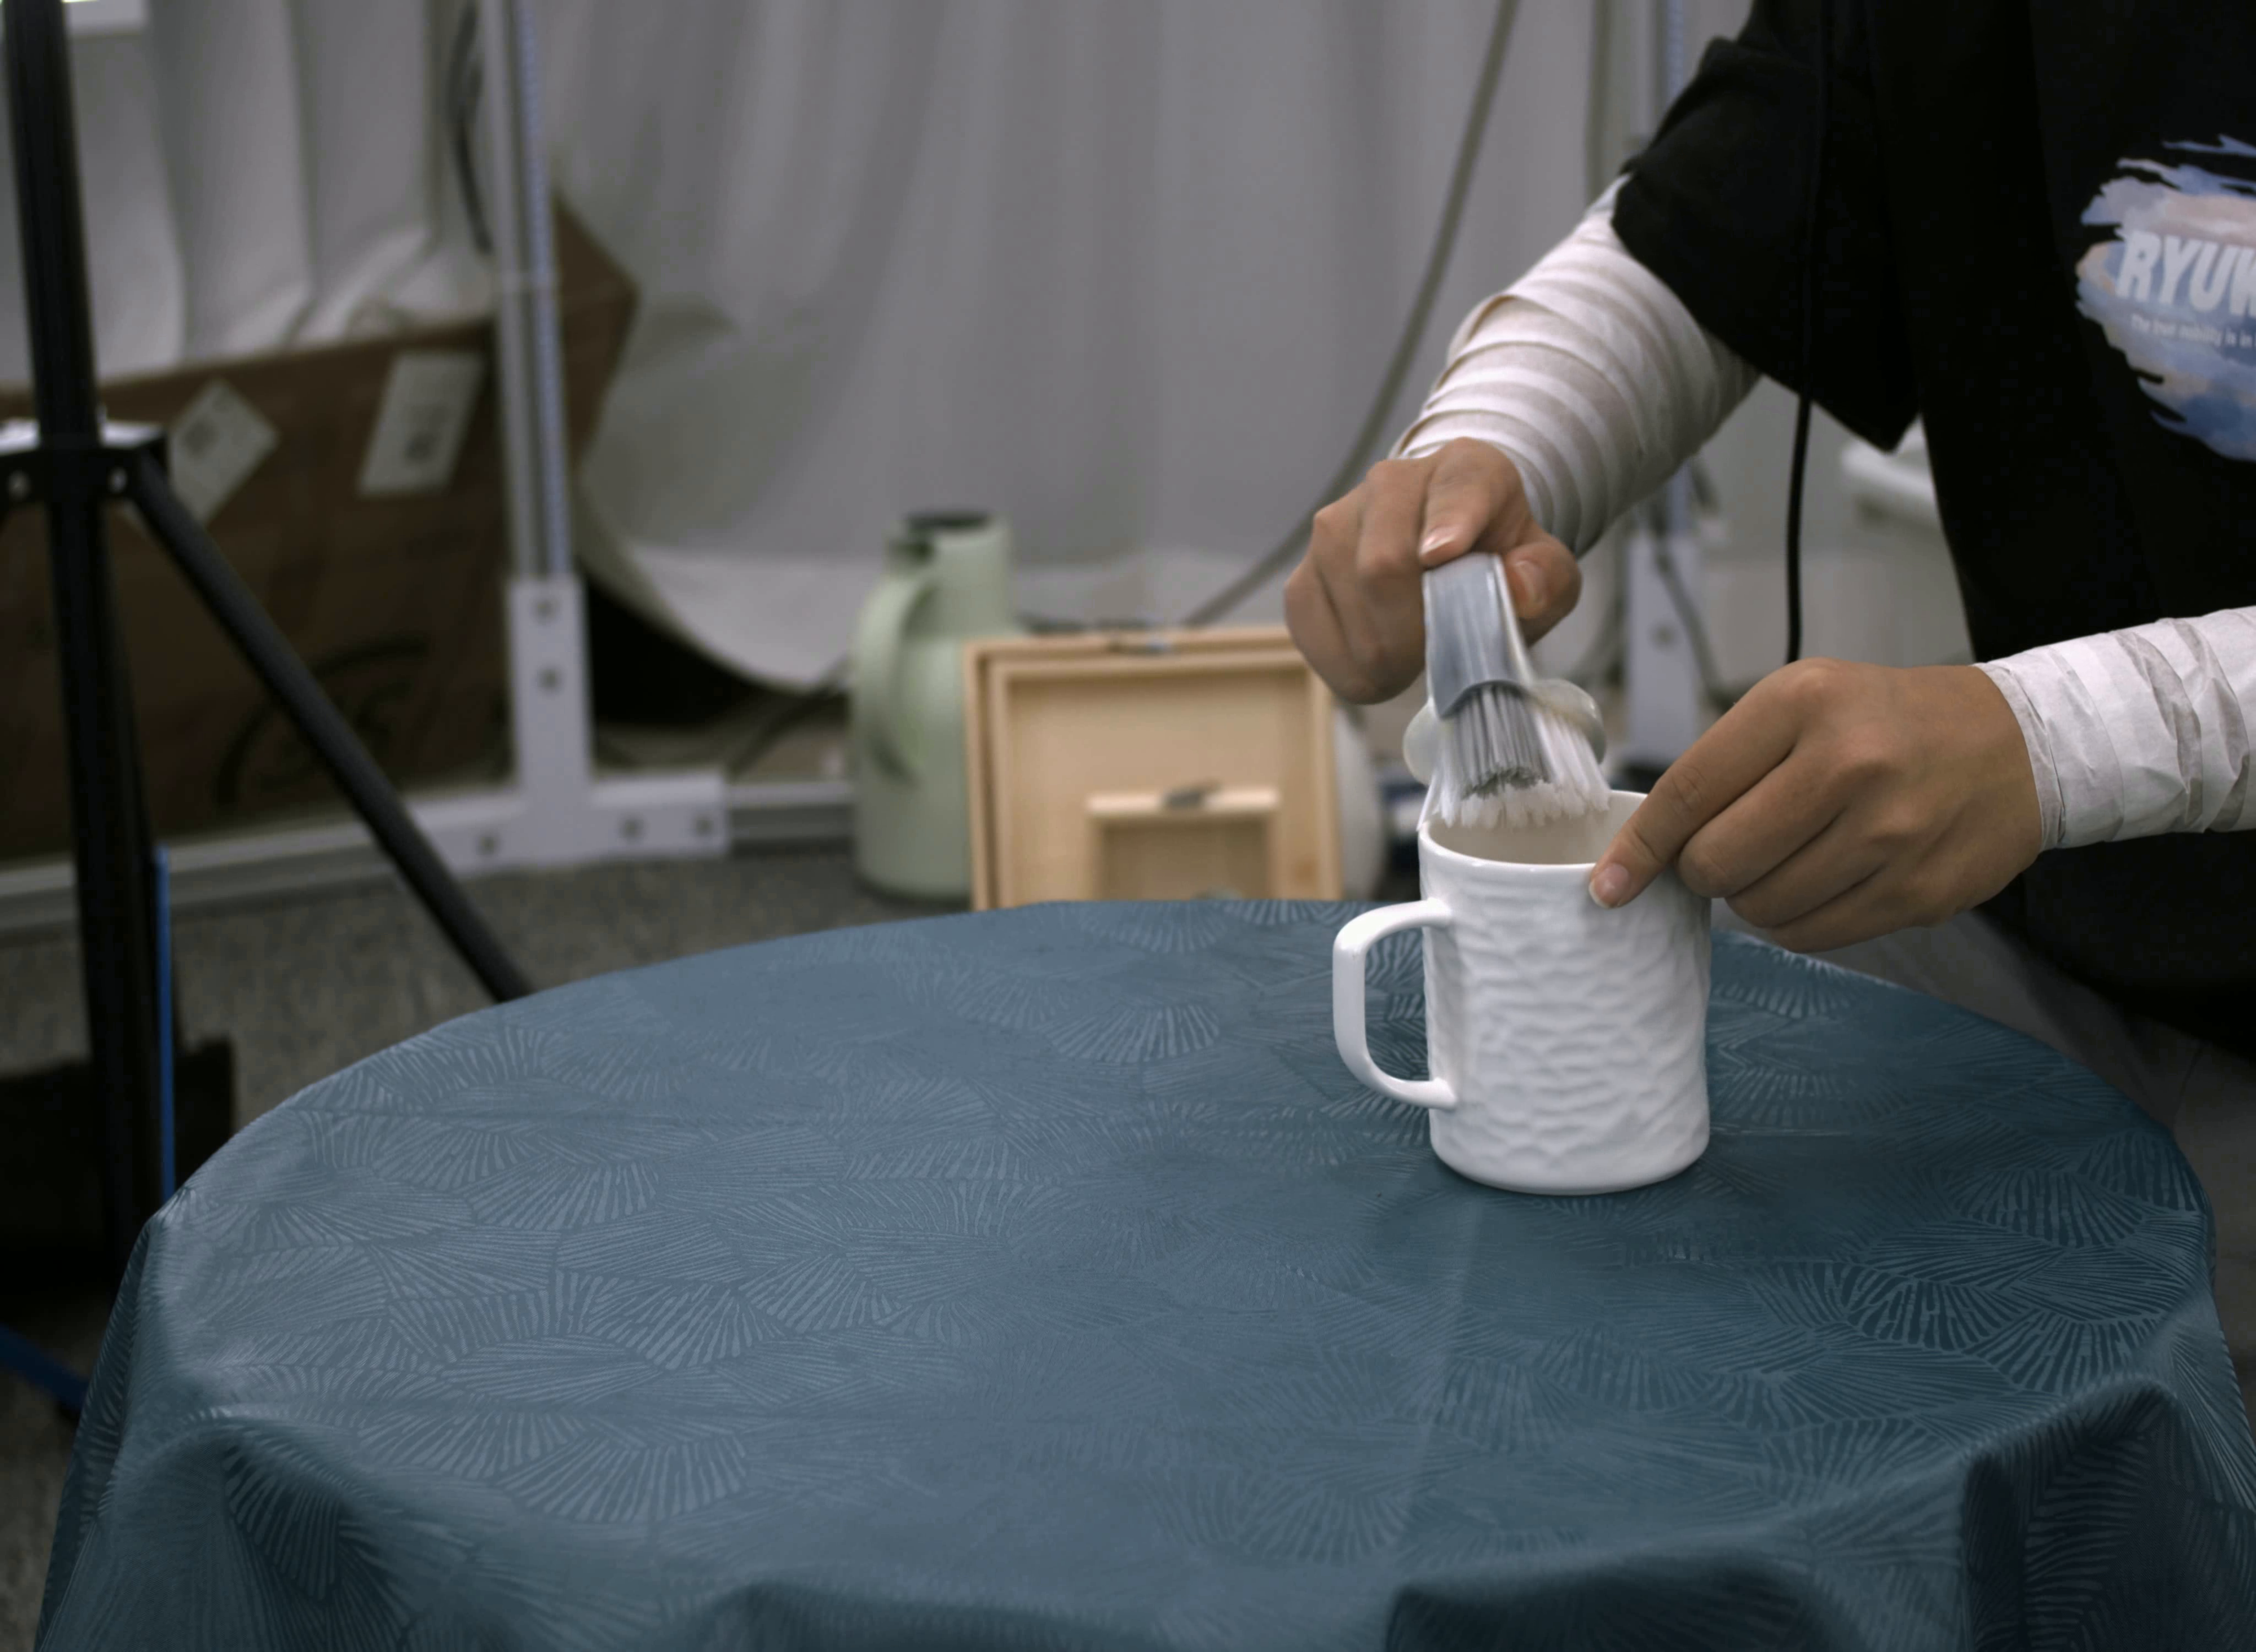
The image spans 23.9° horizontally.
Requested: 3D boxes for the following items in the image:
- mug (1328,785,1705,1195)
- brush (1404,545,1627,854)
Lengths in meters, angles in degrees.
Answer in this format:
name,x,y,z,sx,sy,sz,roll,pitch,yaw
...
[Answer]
name,x,y,z,sx,sy,sz,roll,pitch,yaw
mug,0.113,0.051,1.556,0.116,0.102,0.086,-10,17,-24
brush,0.110,-0.041,1.596,0.061,0.095,0.174,-19,-10,5
